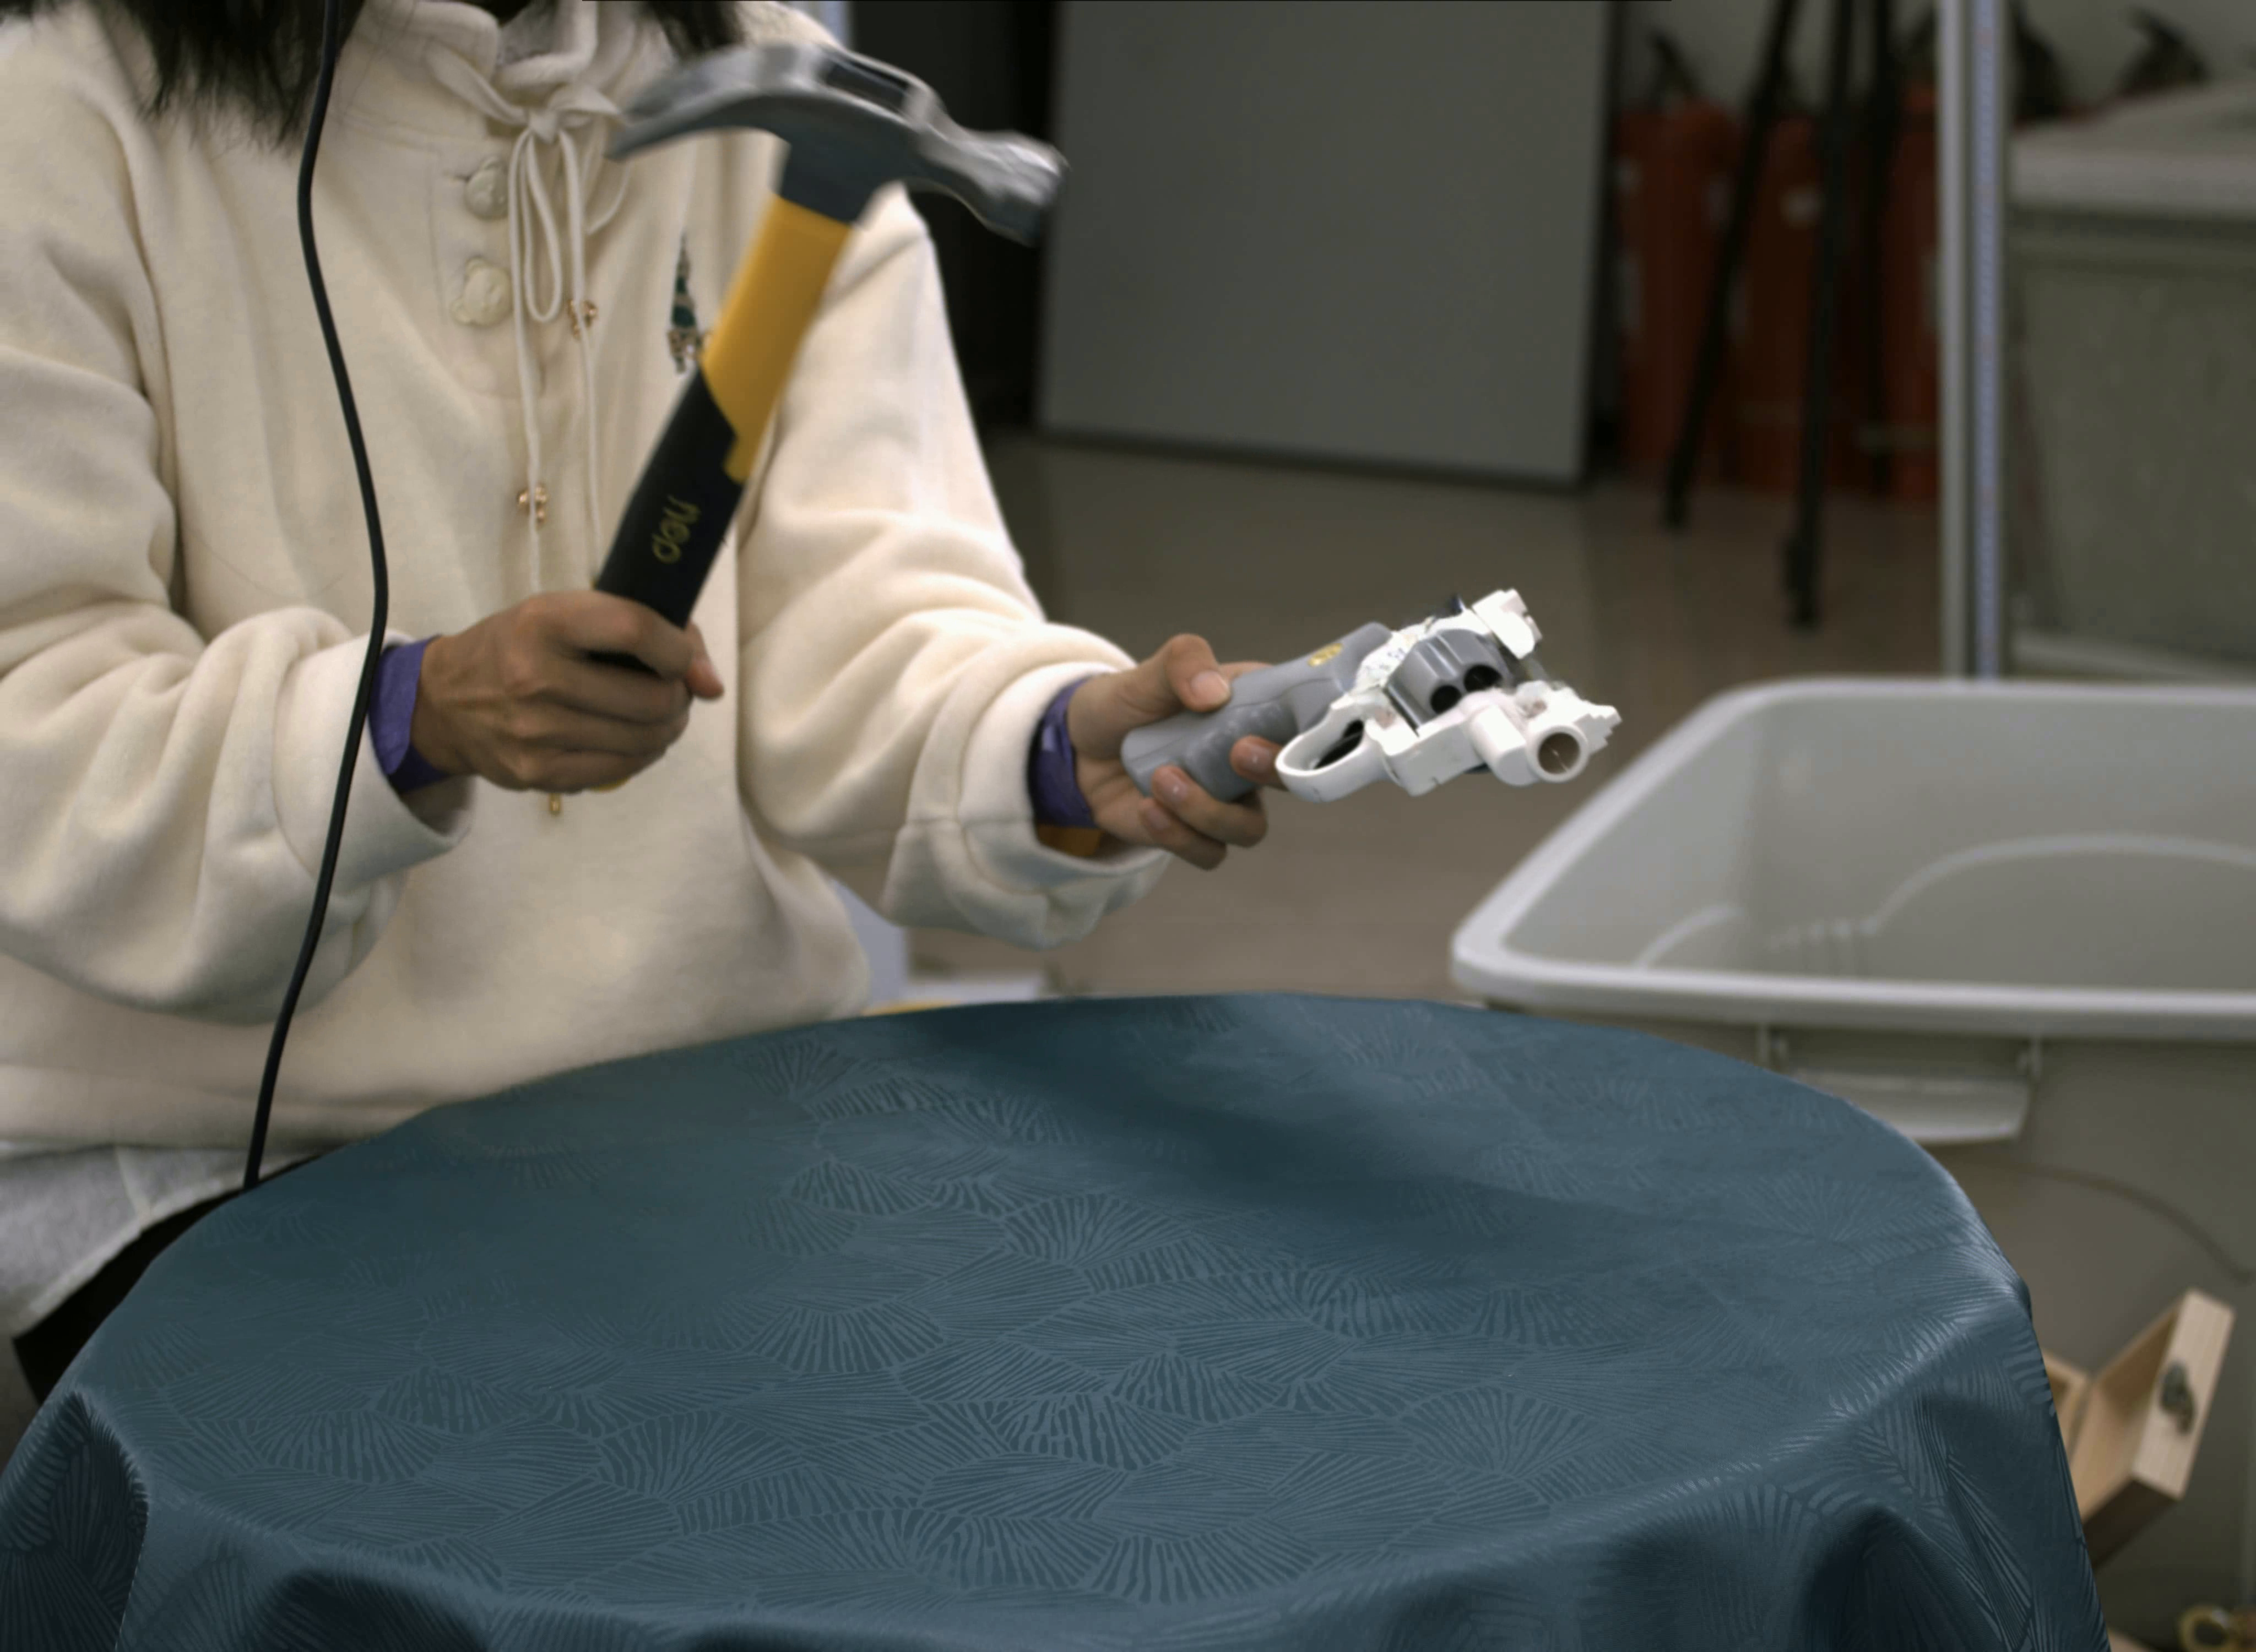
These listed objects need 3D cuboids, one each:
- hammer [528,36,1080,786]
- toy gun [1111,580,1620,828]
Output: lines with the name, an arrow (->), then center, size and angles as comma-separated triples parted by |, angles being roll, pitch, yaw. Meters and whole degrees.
hammer -> -0.132, -0.126, 1.764 | 0.130, 0.341, 0.032 | 23, 47, -7
toy gun -> 0.074, -0.031, 1.753 | 0.140, 0.039, 0.210 | -31, 17, -2
